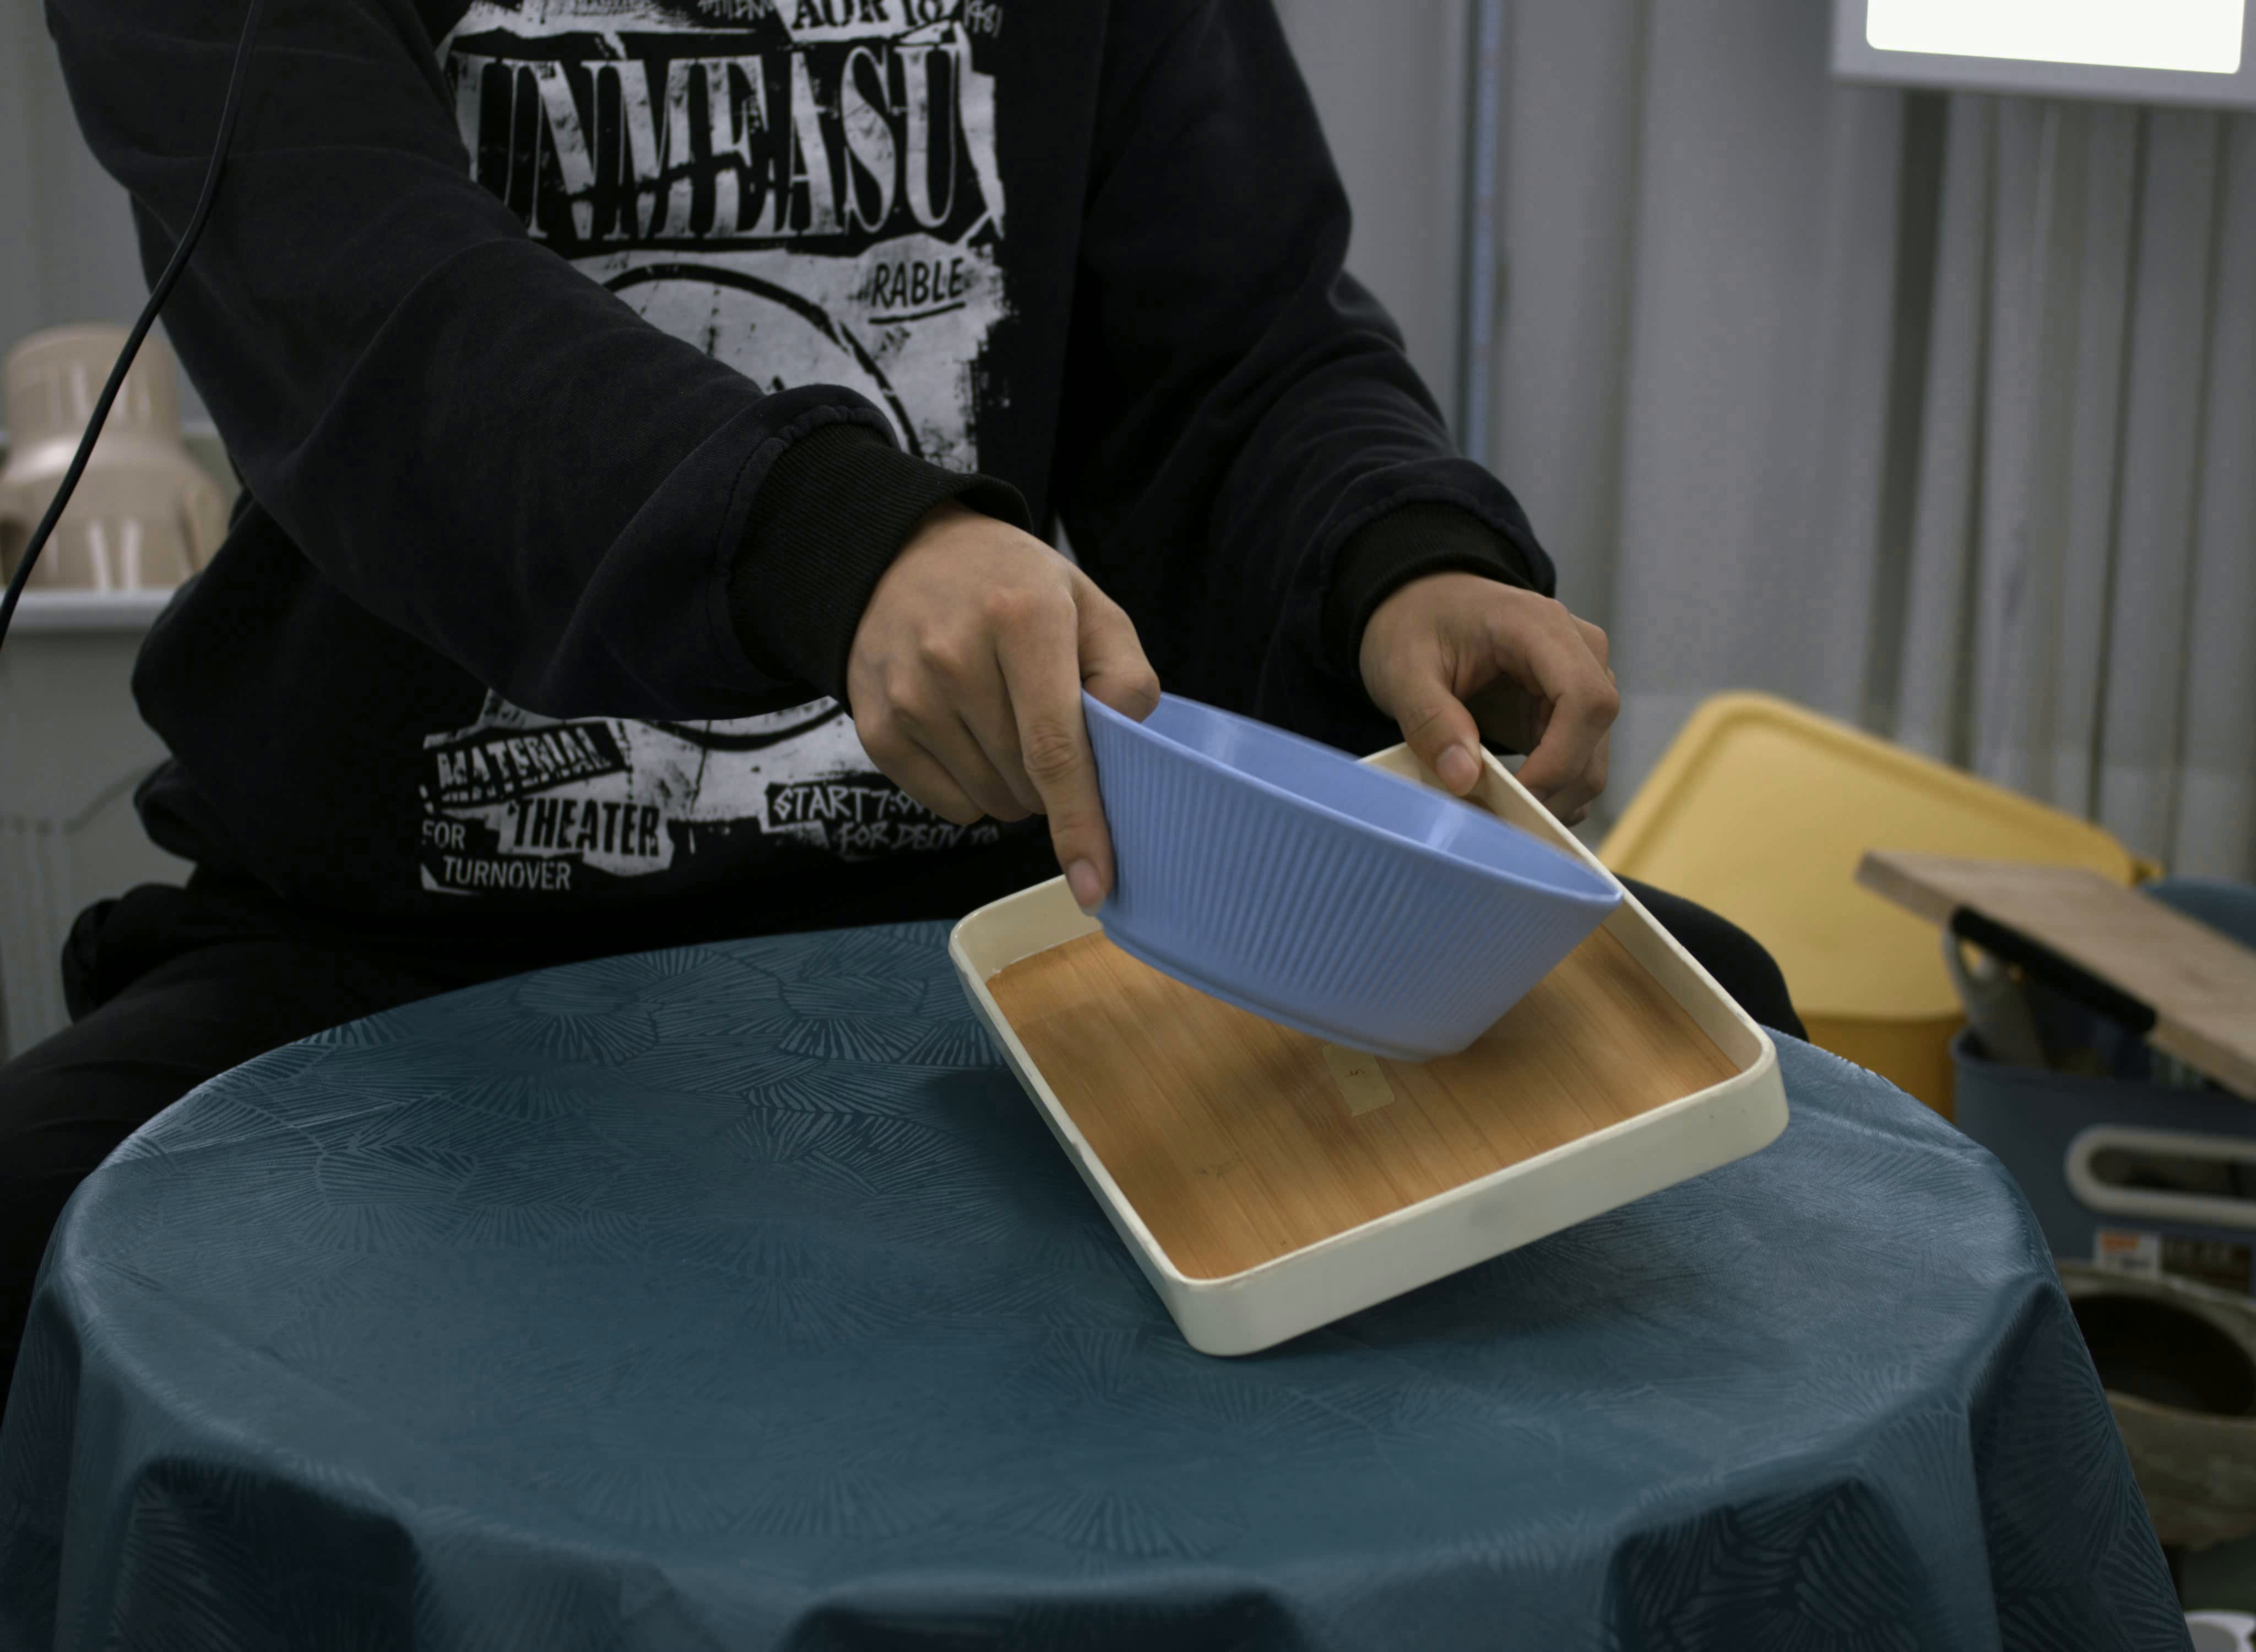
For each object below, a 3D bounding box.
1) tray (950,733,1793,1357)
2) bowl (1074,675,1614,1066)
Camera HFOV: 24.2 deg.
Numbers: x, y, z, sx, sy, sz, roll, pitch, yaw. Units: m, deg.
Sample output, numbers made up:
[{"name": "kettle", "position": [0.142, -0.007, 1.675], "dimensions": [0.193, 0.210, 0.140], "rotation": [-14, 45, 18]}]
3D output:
[{"name": "tray", "position": [0.067, 0.061, 1.625], "dimensions": [0.191, 0.028, 0.297], "rotation": [-21, 25, -8]}, {"name": "bowl", "position": [0.052, 0.019, 1.573], "dimensions": [0.176, 0.070, 0.176], "rotation": [23, 5, -2]}]
